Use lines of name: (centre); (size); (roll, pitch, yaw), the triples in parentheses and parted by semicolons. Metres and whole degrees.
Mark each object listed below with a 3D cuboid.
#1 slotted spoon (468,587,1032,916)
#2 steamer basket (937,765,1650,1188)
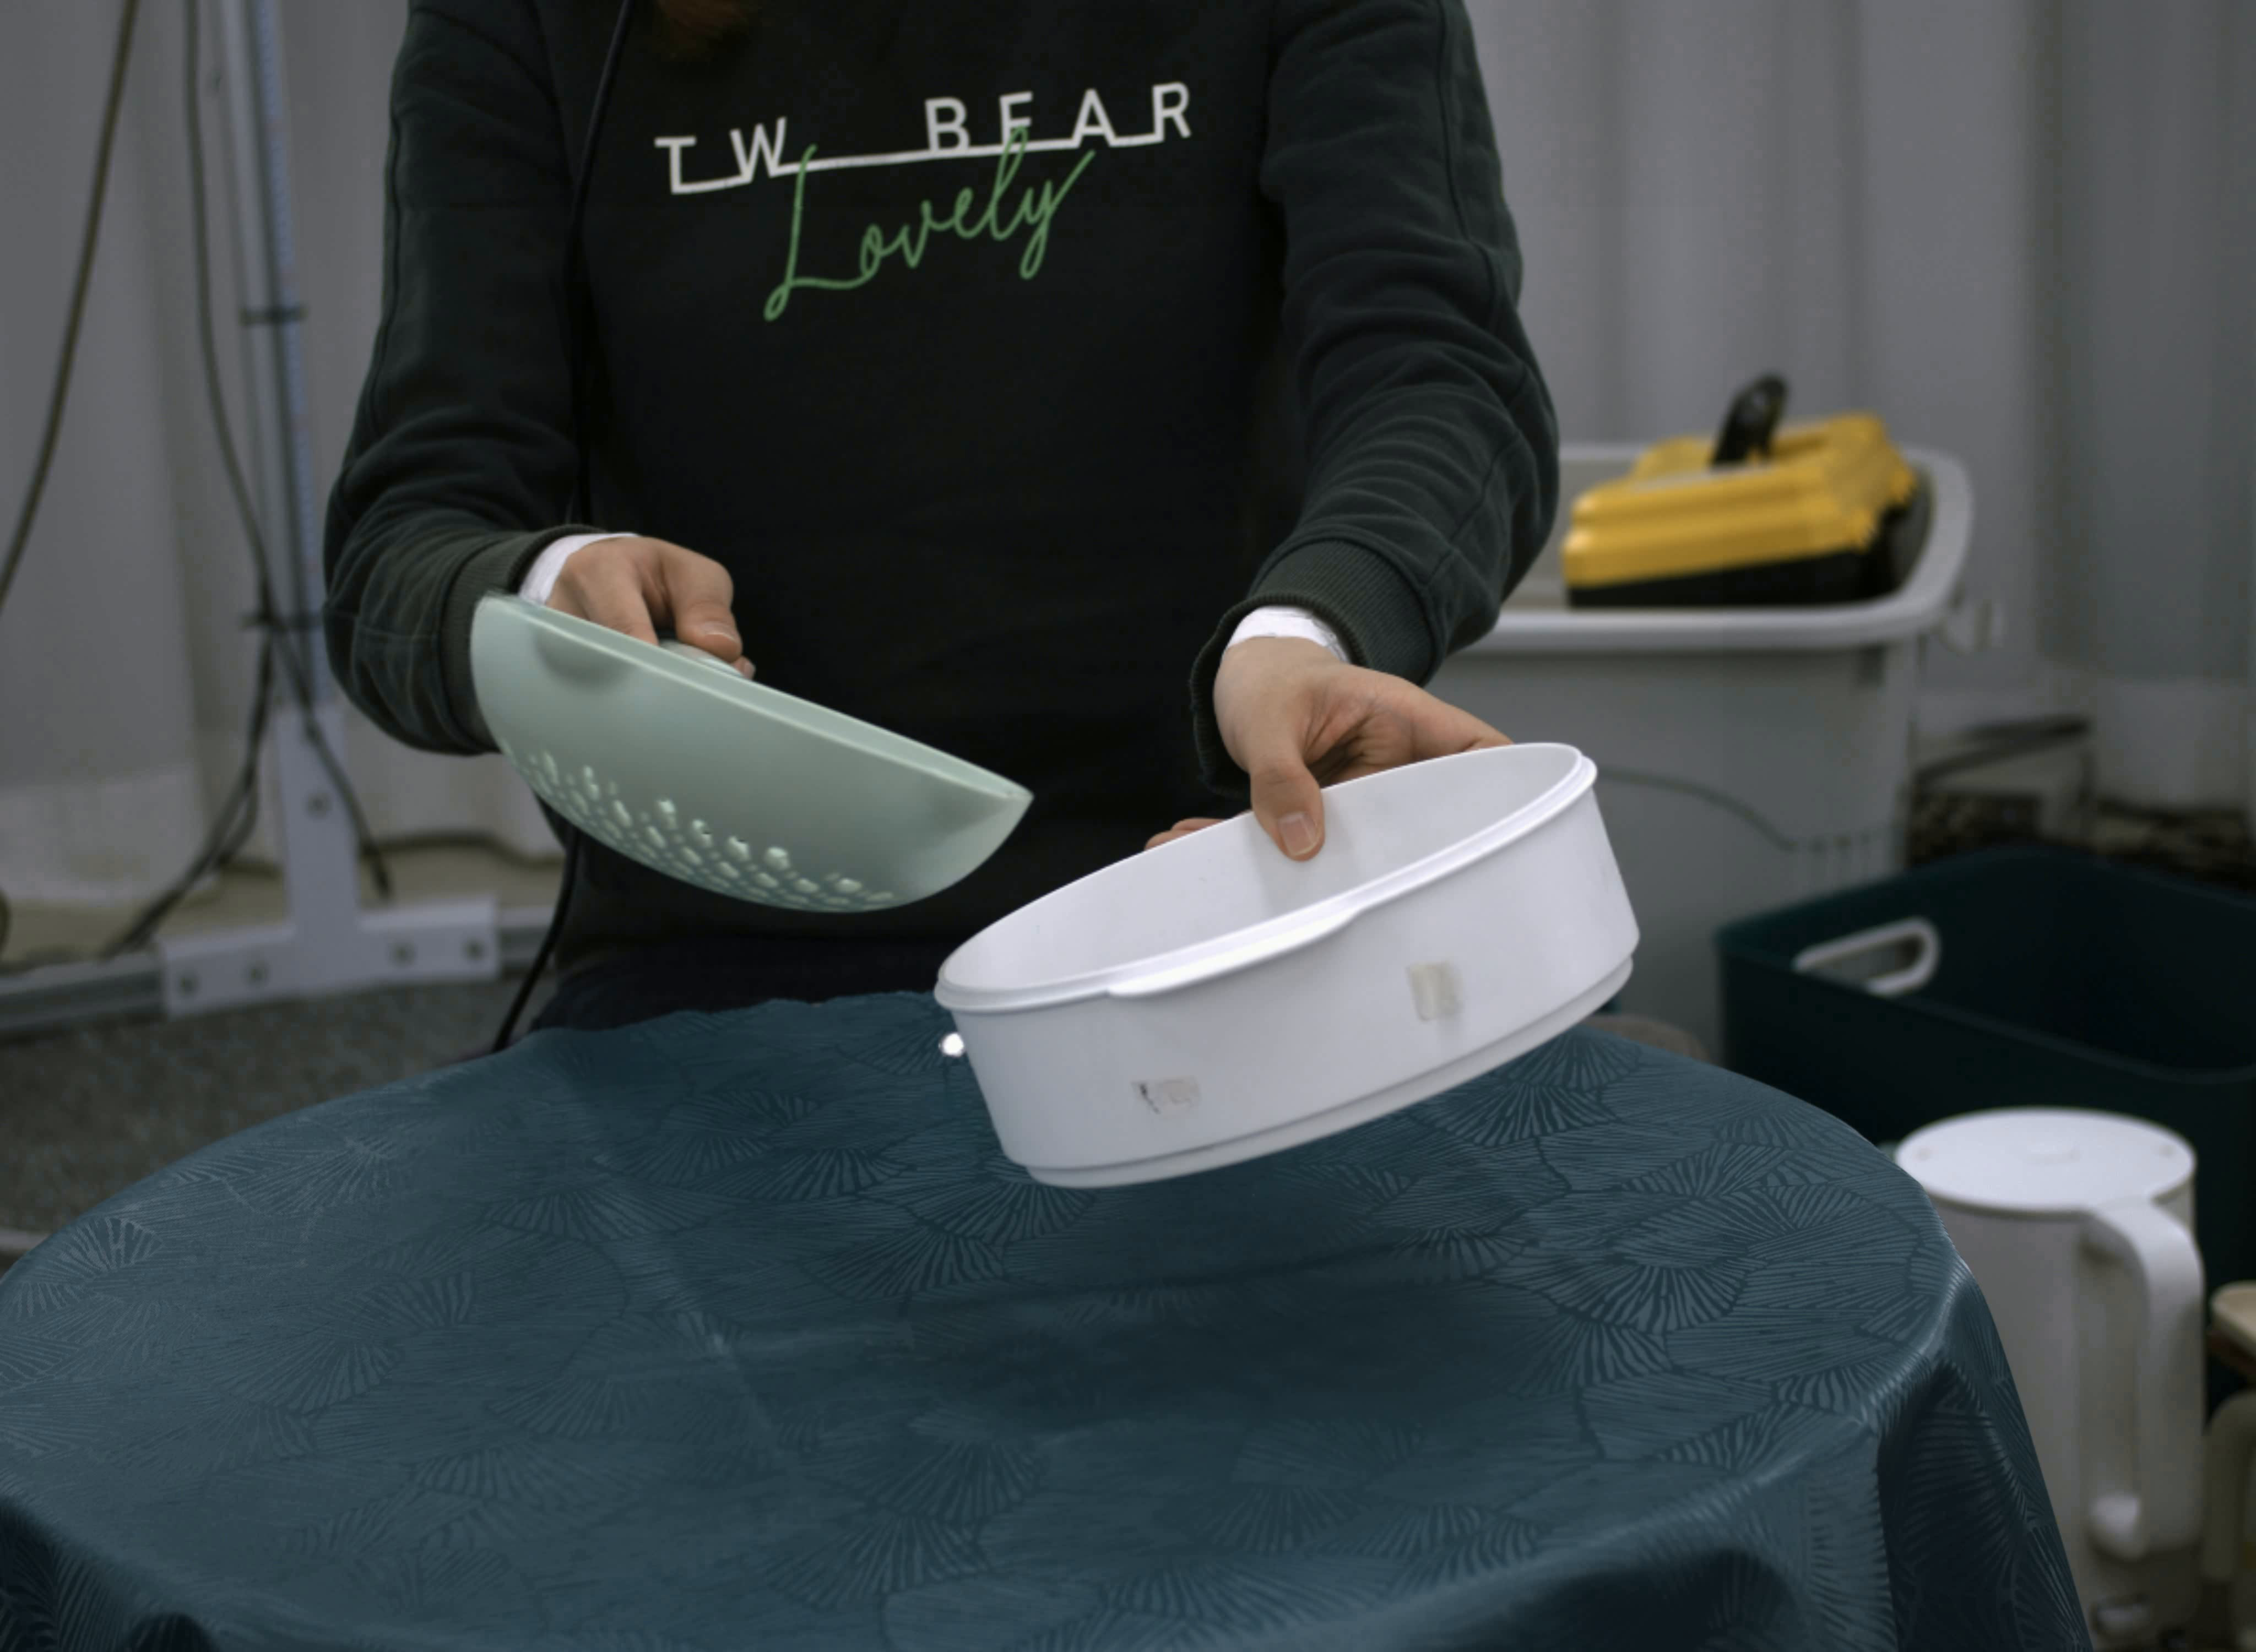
slotted spoon: (-0.127, -0.035, 1.652); (0.168, 0.075, 0.361); (22, 9, -11)
steamer basket: (0.050, 0.044, 1.561); (0.201, 0.069, 0.231); (-15, 10, 7)
